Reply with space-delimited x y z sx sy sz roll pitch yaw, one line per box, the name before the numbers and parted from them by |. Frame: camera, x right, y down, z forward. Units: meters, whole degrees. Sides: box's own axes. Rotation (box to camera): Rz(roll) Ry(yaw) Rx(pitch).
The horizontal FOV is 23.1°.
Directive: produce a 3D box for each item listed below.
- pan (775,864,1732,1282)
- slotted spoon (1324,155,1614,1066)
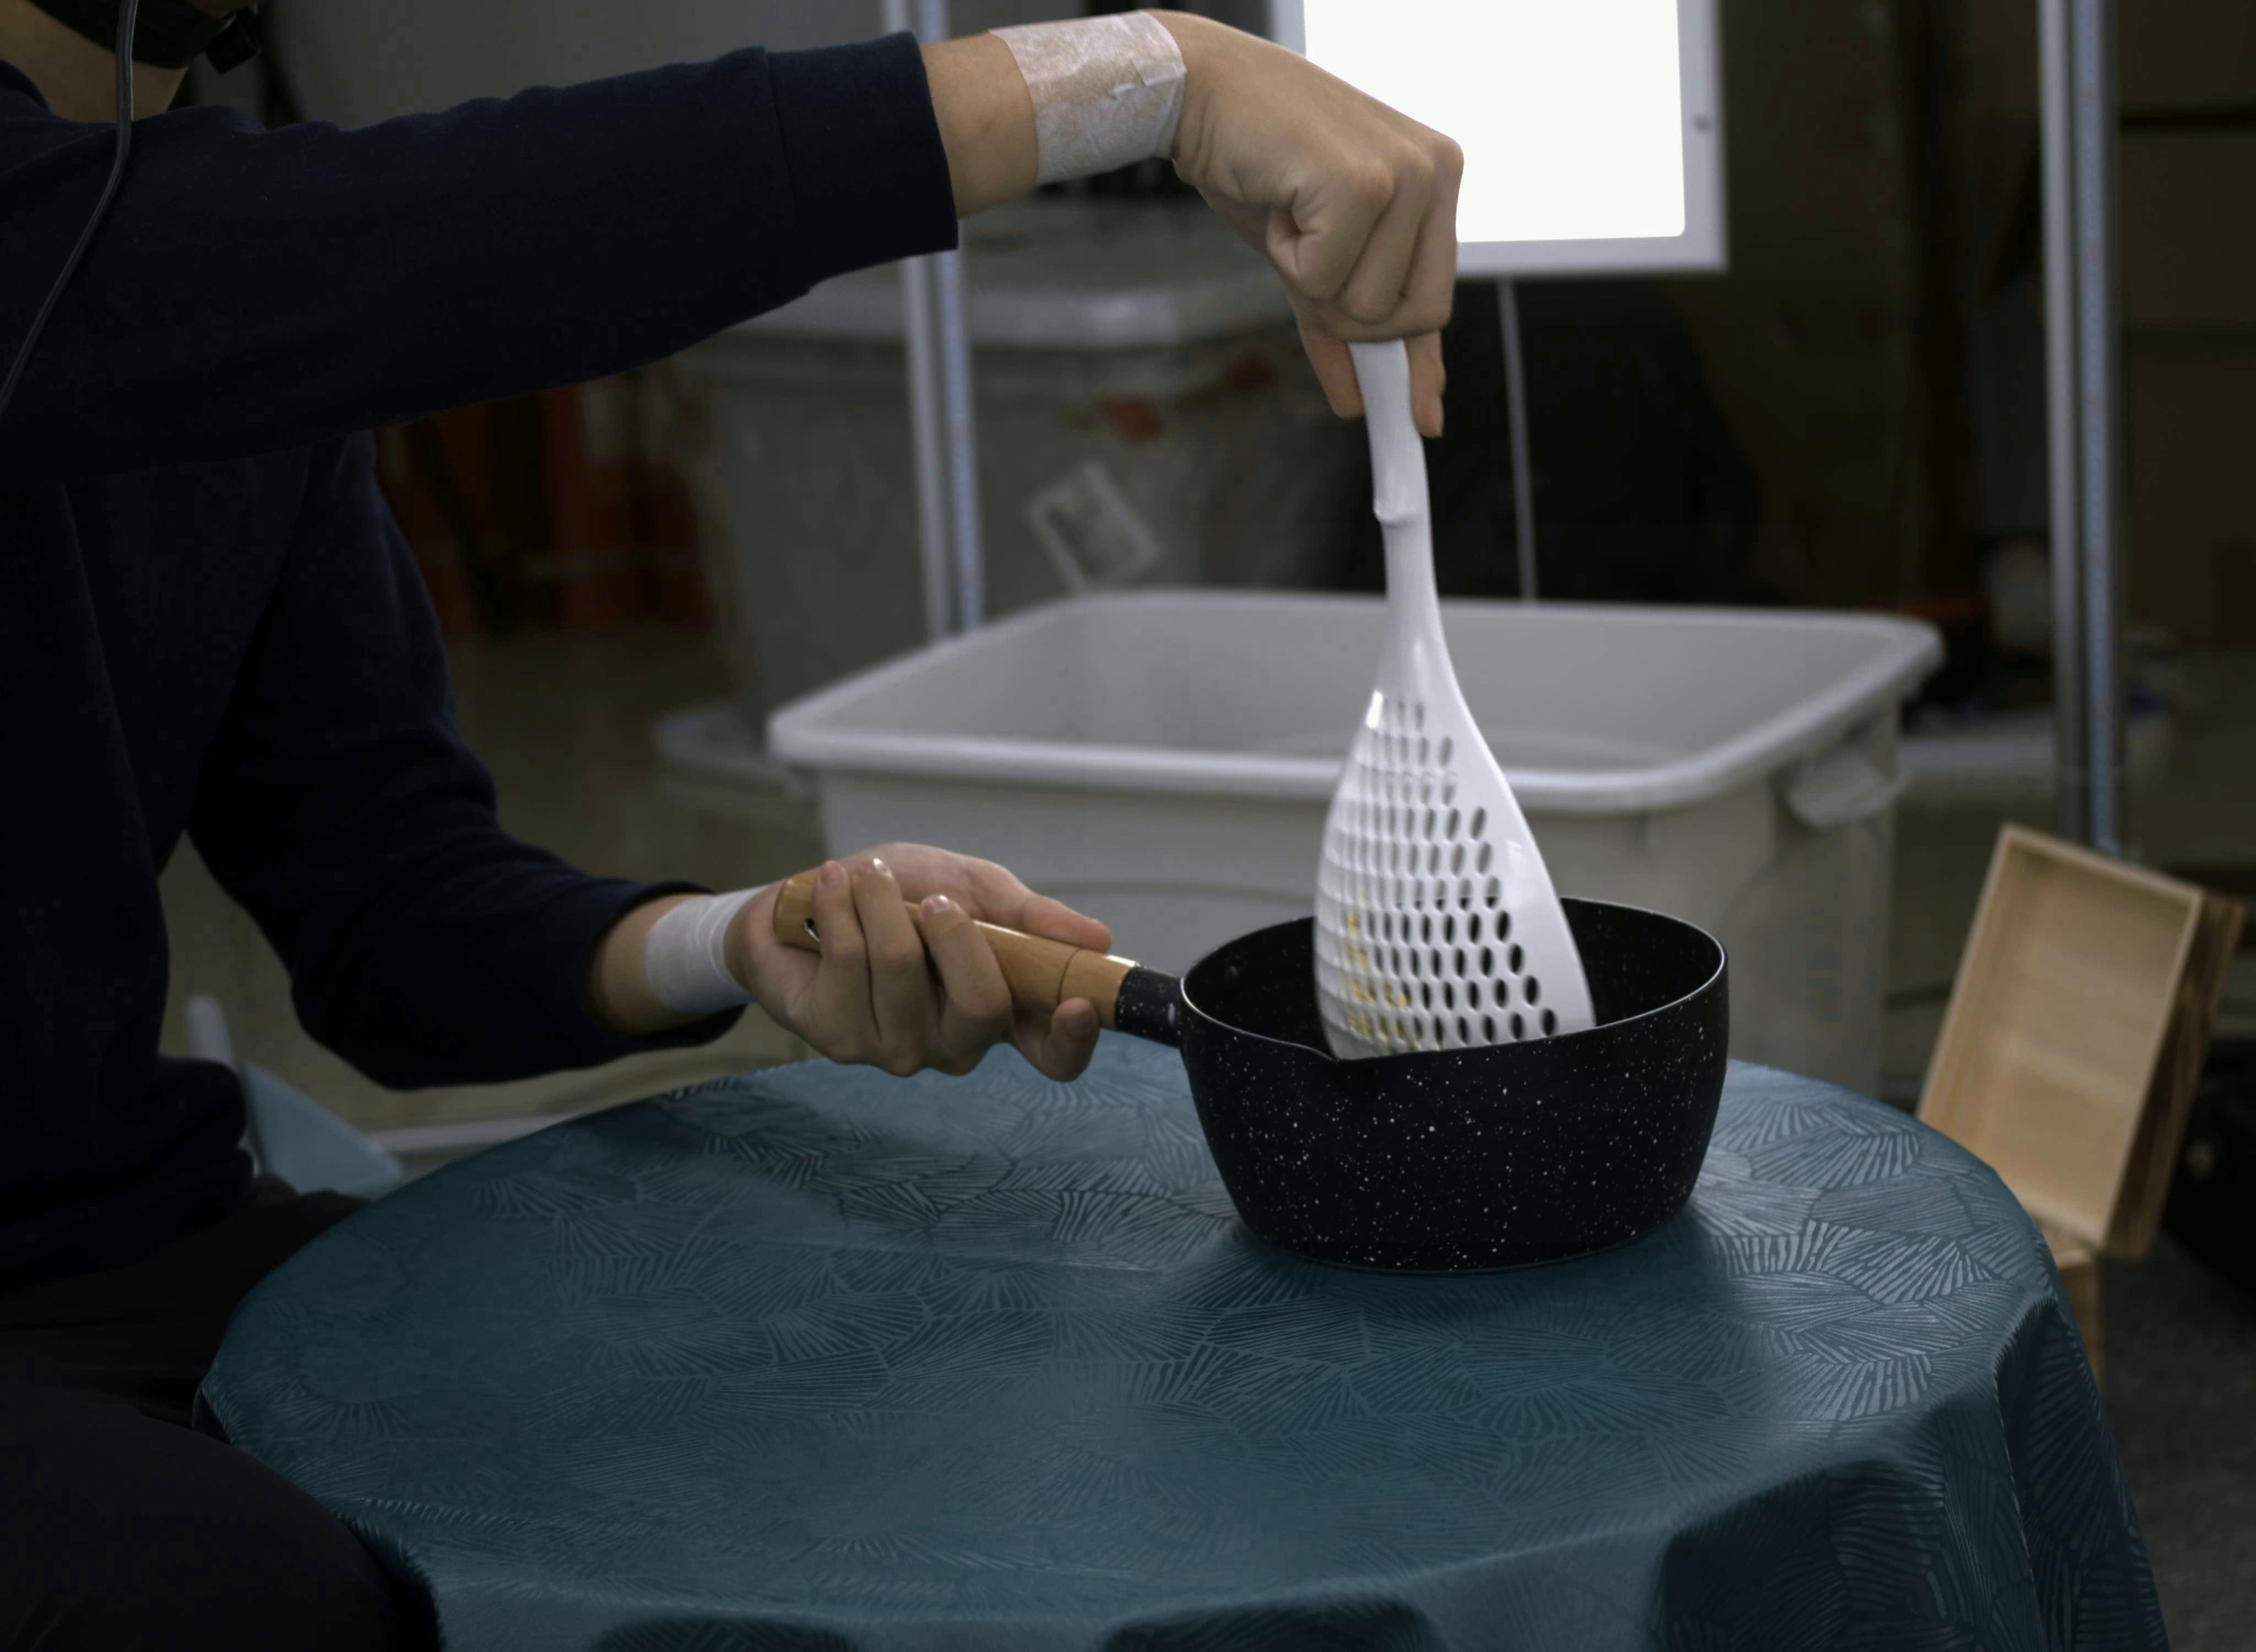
pan | 0.037 0.074 1.869 0.348 0.108 0.203 2 17 23
slotted spoon | 0.092 -0.046 1.786 0.049 0.349 0.139 -12 15 -35
